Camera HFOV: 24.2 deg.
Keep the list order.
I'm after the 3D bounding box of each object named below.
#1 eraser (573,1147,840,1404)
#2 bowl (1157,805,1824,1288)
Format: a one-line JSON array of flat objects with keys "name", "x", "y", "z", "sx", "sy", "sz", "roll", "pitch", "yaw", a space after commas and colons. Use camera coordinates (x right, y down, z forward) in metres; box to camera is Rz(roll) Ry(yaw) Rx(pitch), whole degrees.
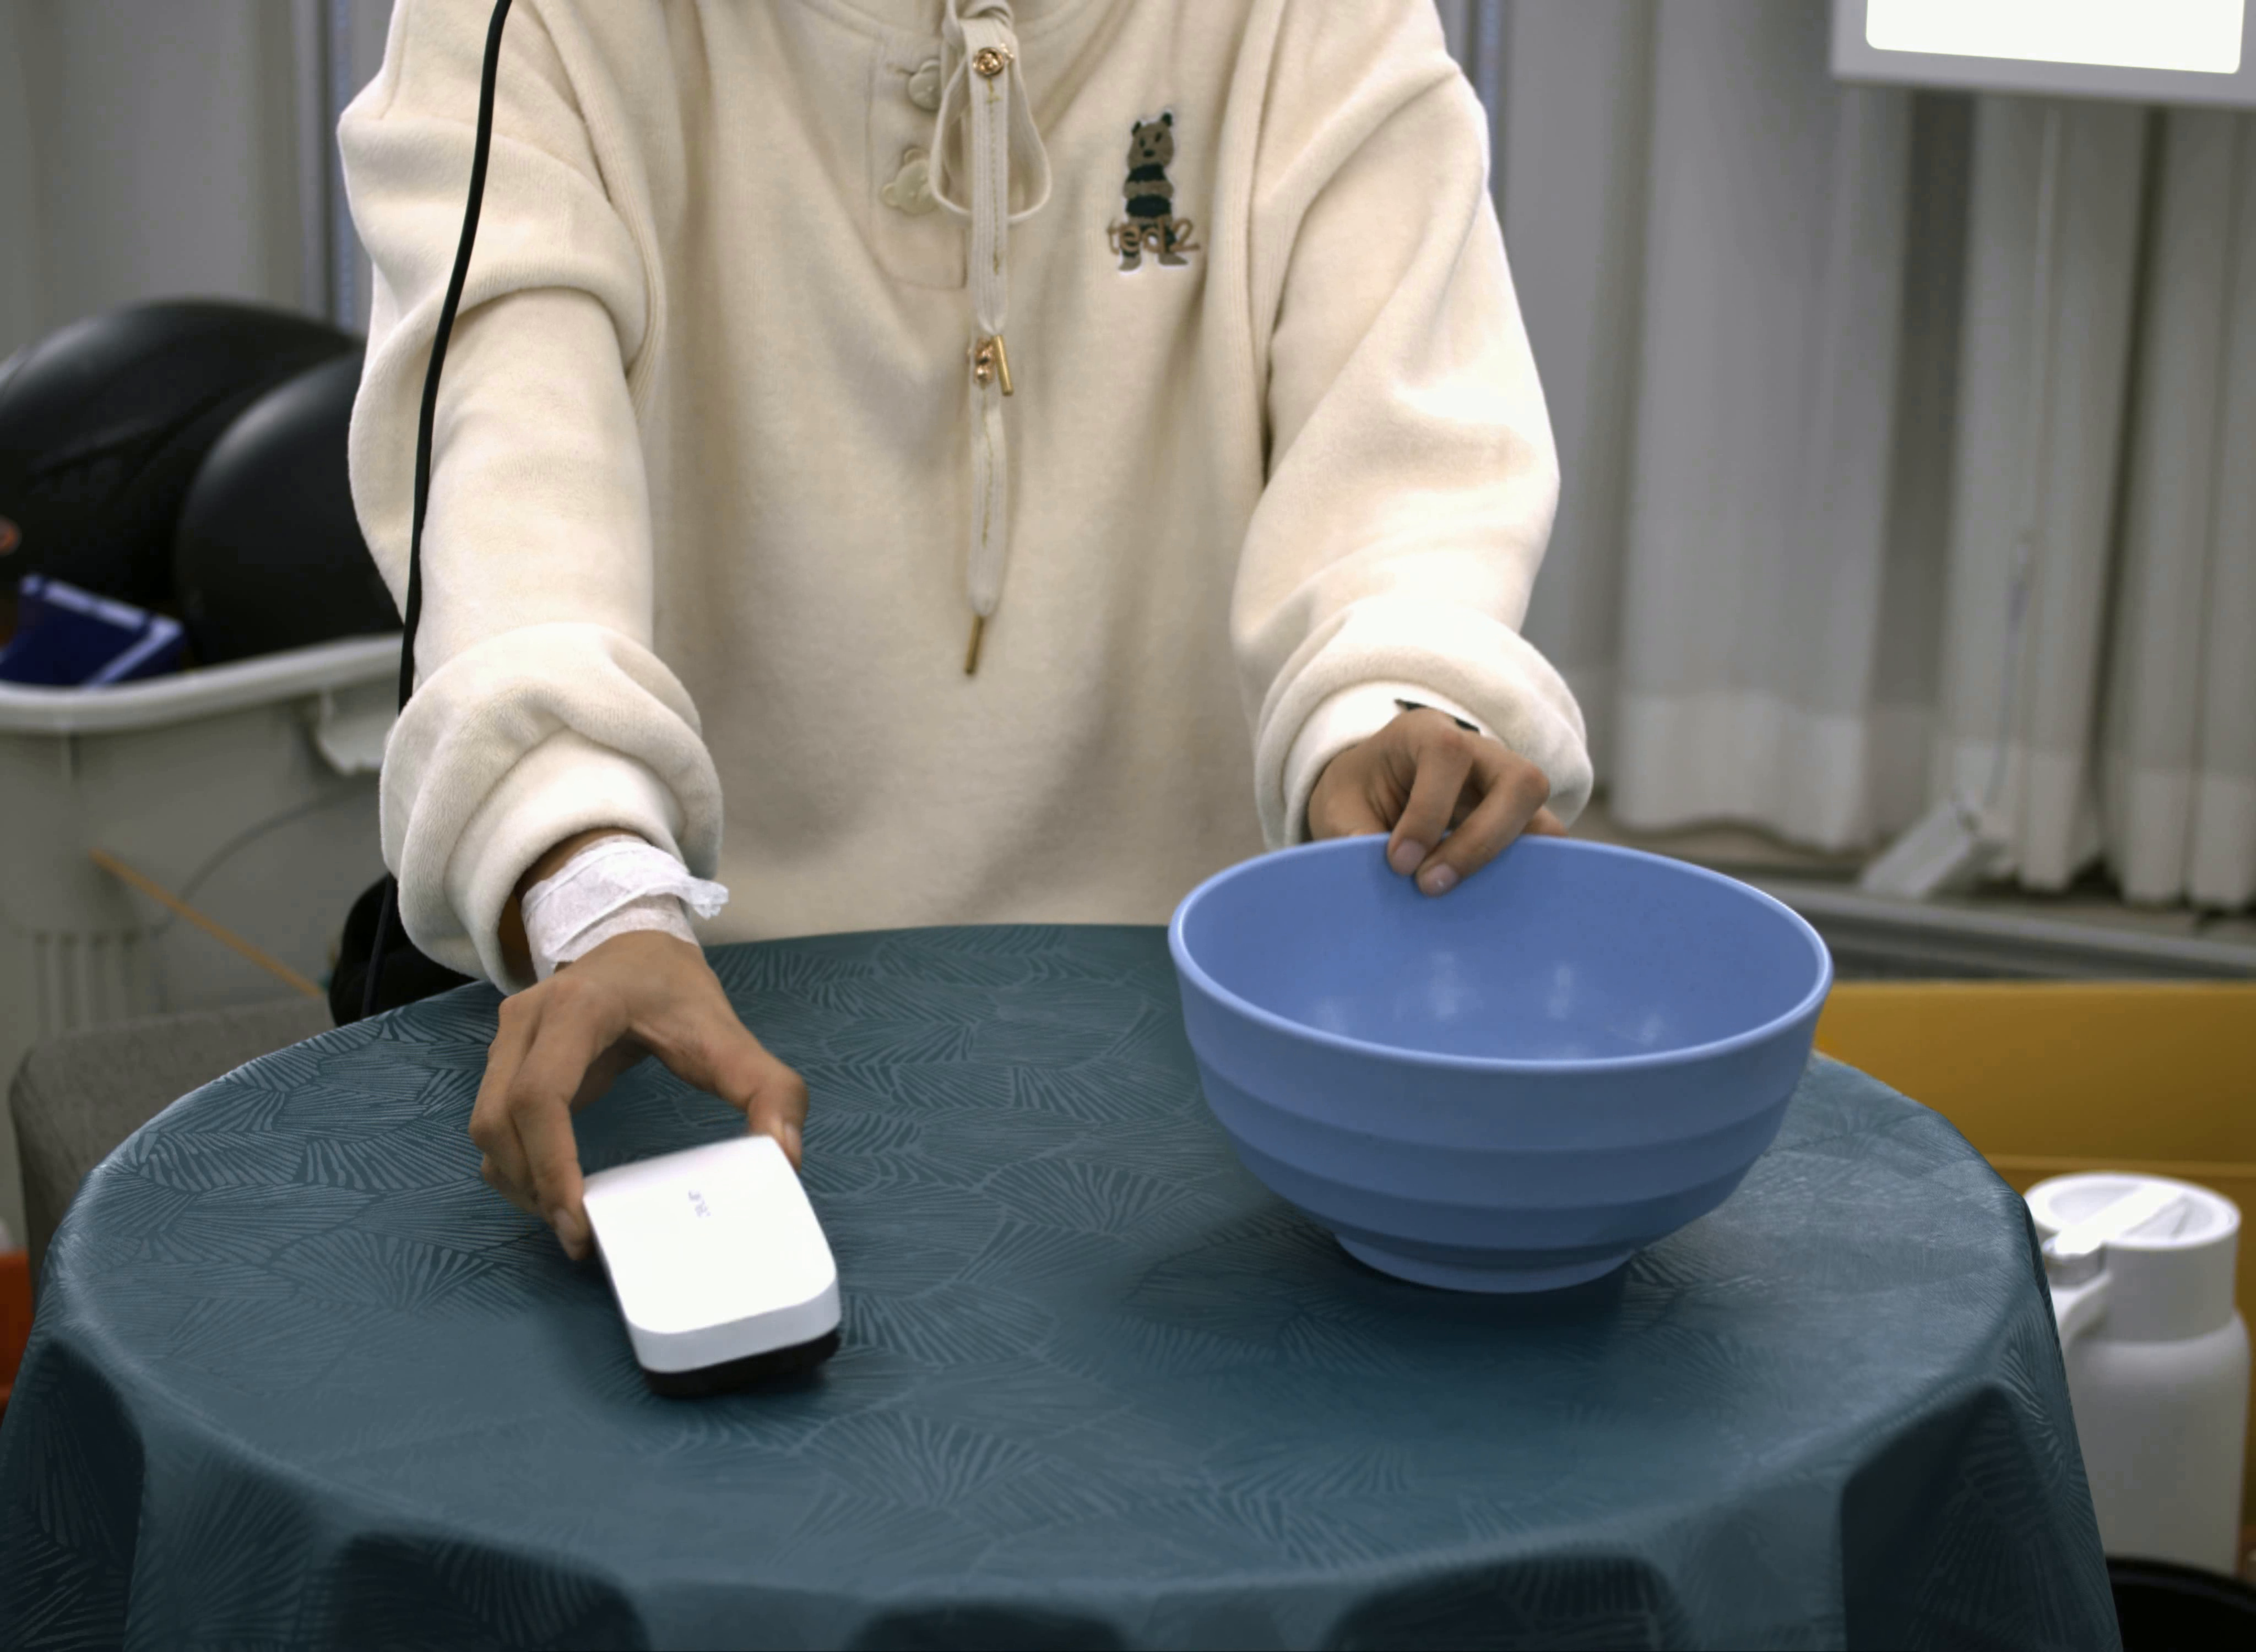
[{"name": "eraser", "x": -0.119, "y": 0.124, "z": 1.503, "sx": 0.063, "sy": 0.035, "sz": 0.130, "roll": -10, "pitch": 19, "yaw": -11}, {"name": "bowl", "x": 0.106, "y": 0.075, "z": 1.569, "sx": 0.196, "sy": 0.096, "sz": 0.195, "roll": 1, "pitch": 24, "yaw": 0}]
